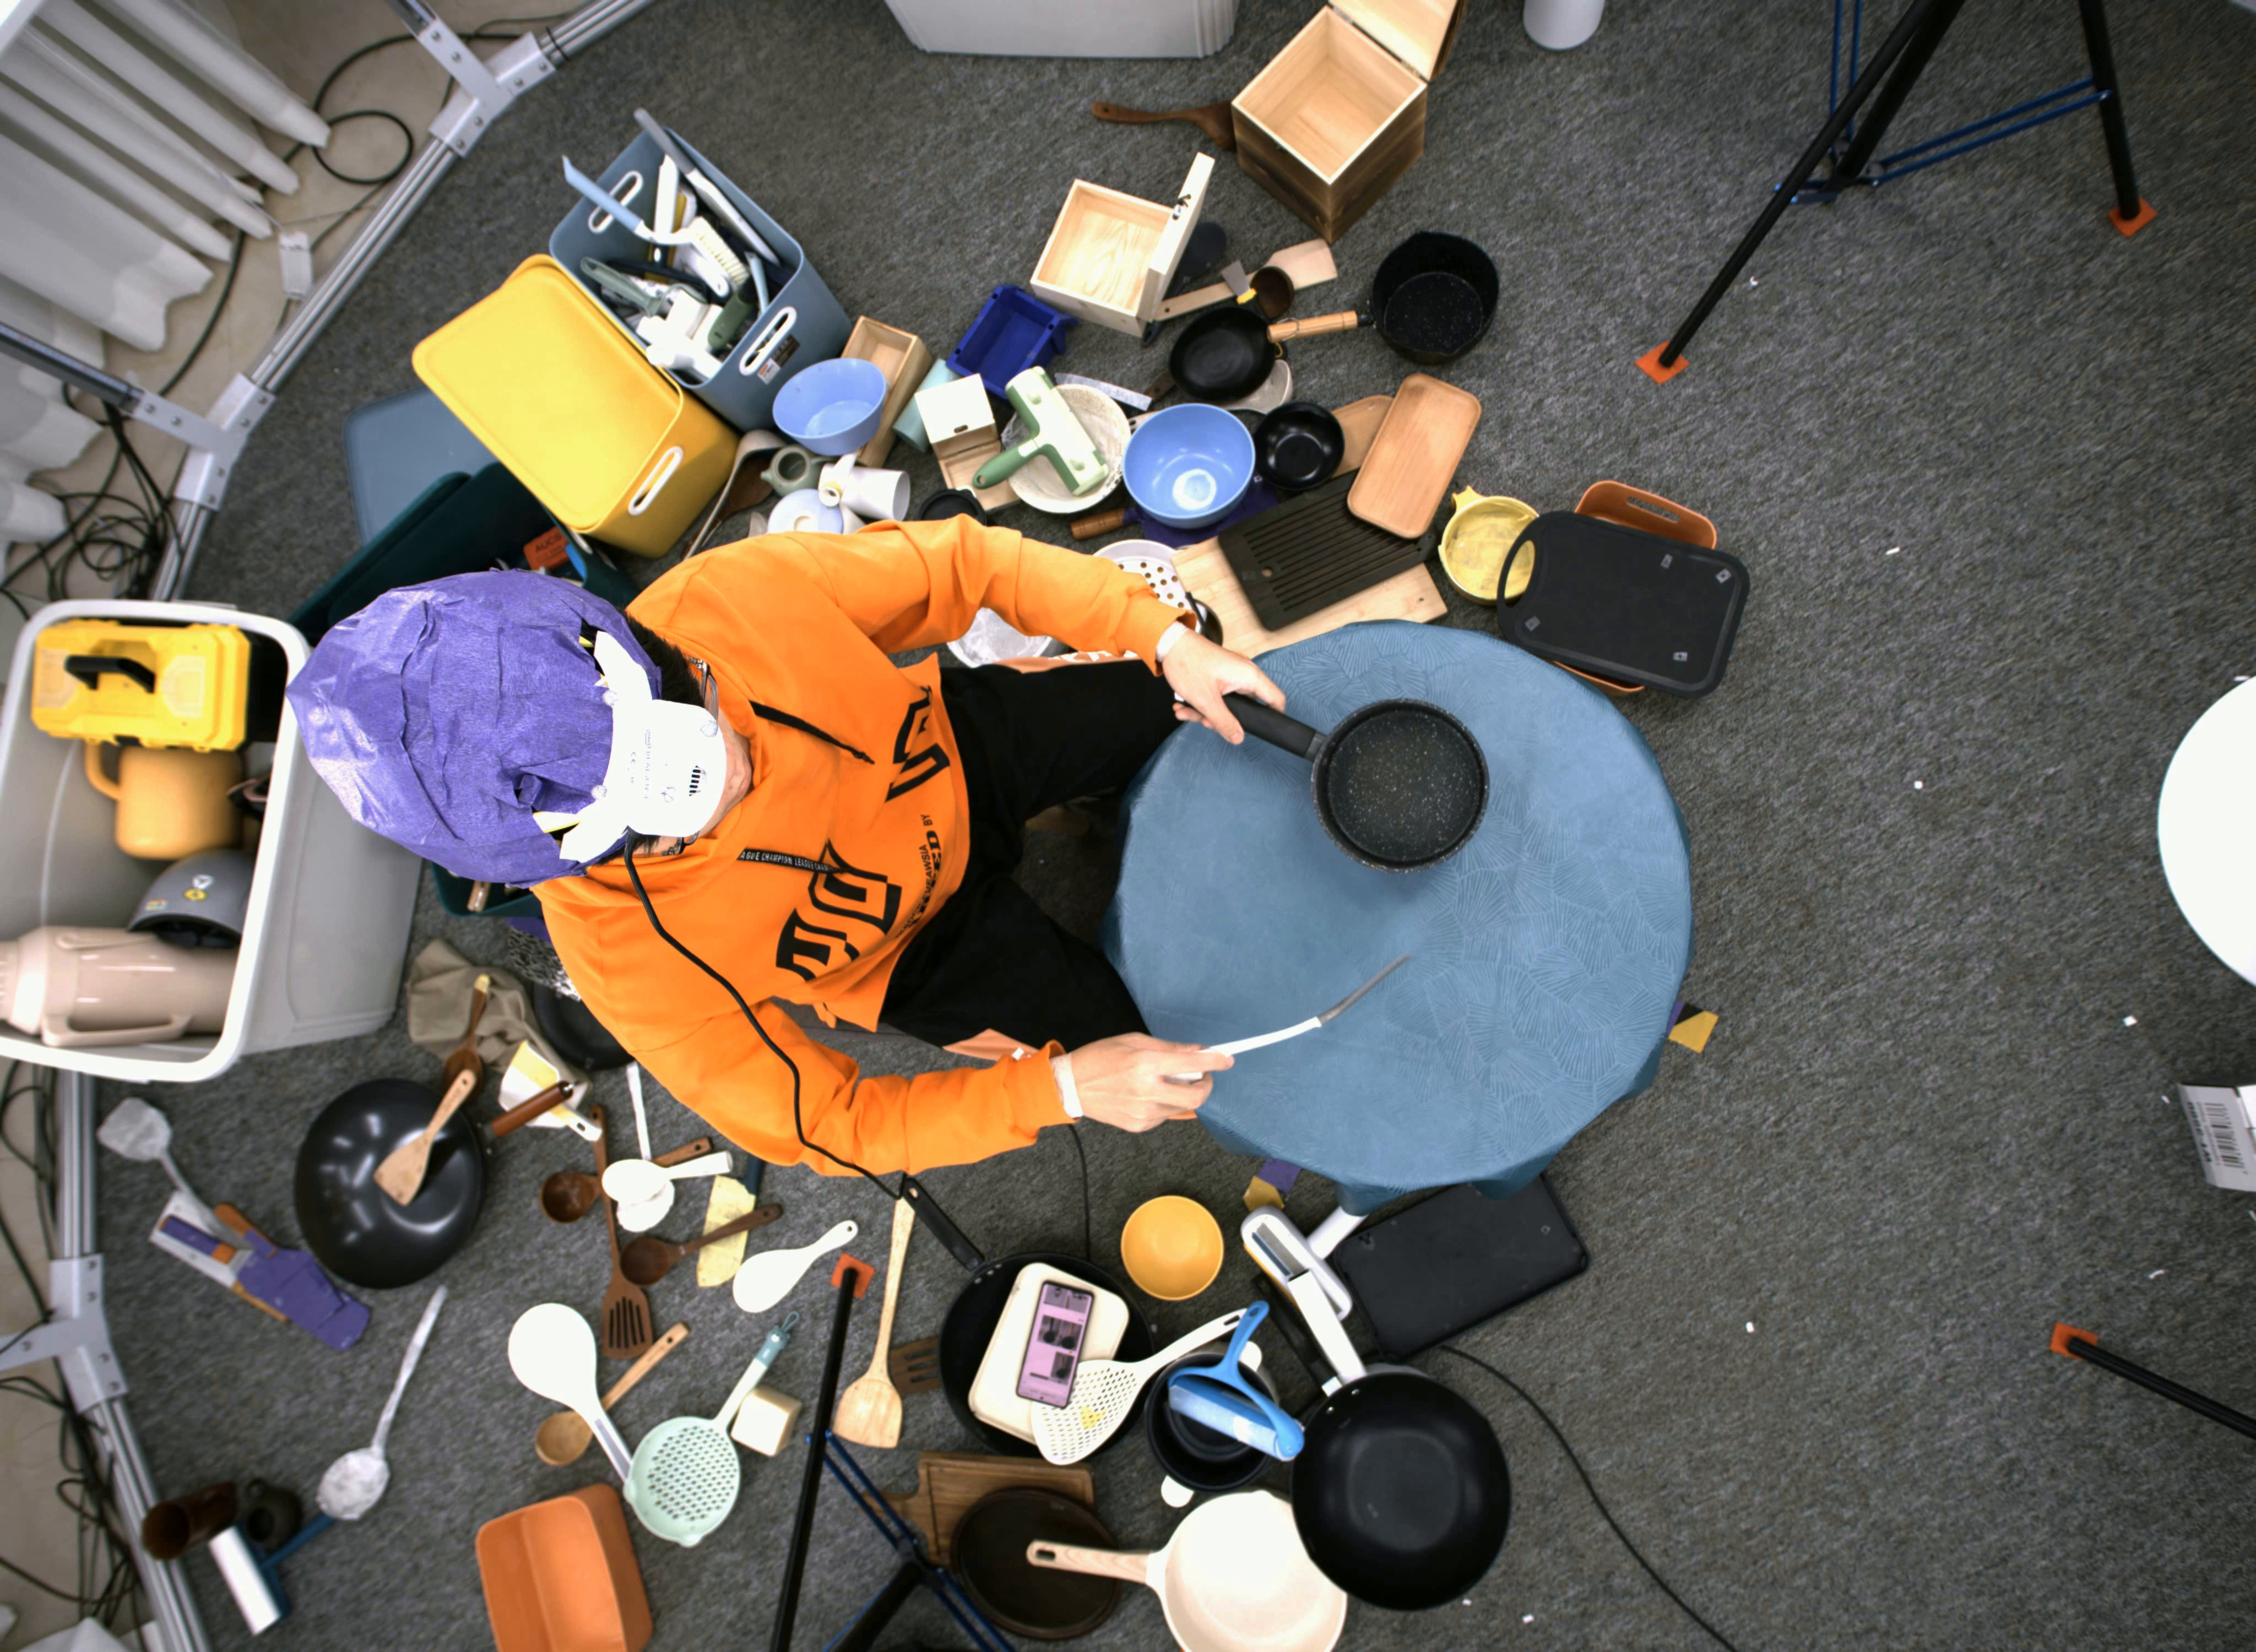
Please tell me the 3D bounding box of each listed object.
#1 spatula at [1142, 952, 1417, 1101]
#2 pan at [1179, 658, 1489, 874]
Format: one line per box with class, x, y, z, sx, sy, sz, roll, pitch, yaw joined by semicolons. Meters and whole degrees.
spatula;0.148;0.189;1.326;0.289;0.059;0.032;-26;77;9
pan;0.204;-0.077;1.388;0.328;0.086;0.173;28;99;10
